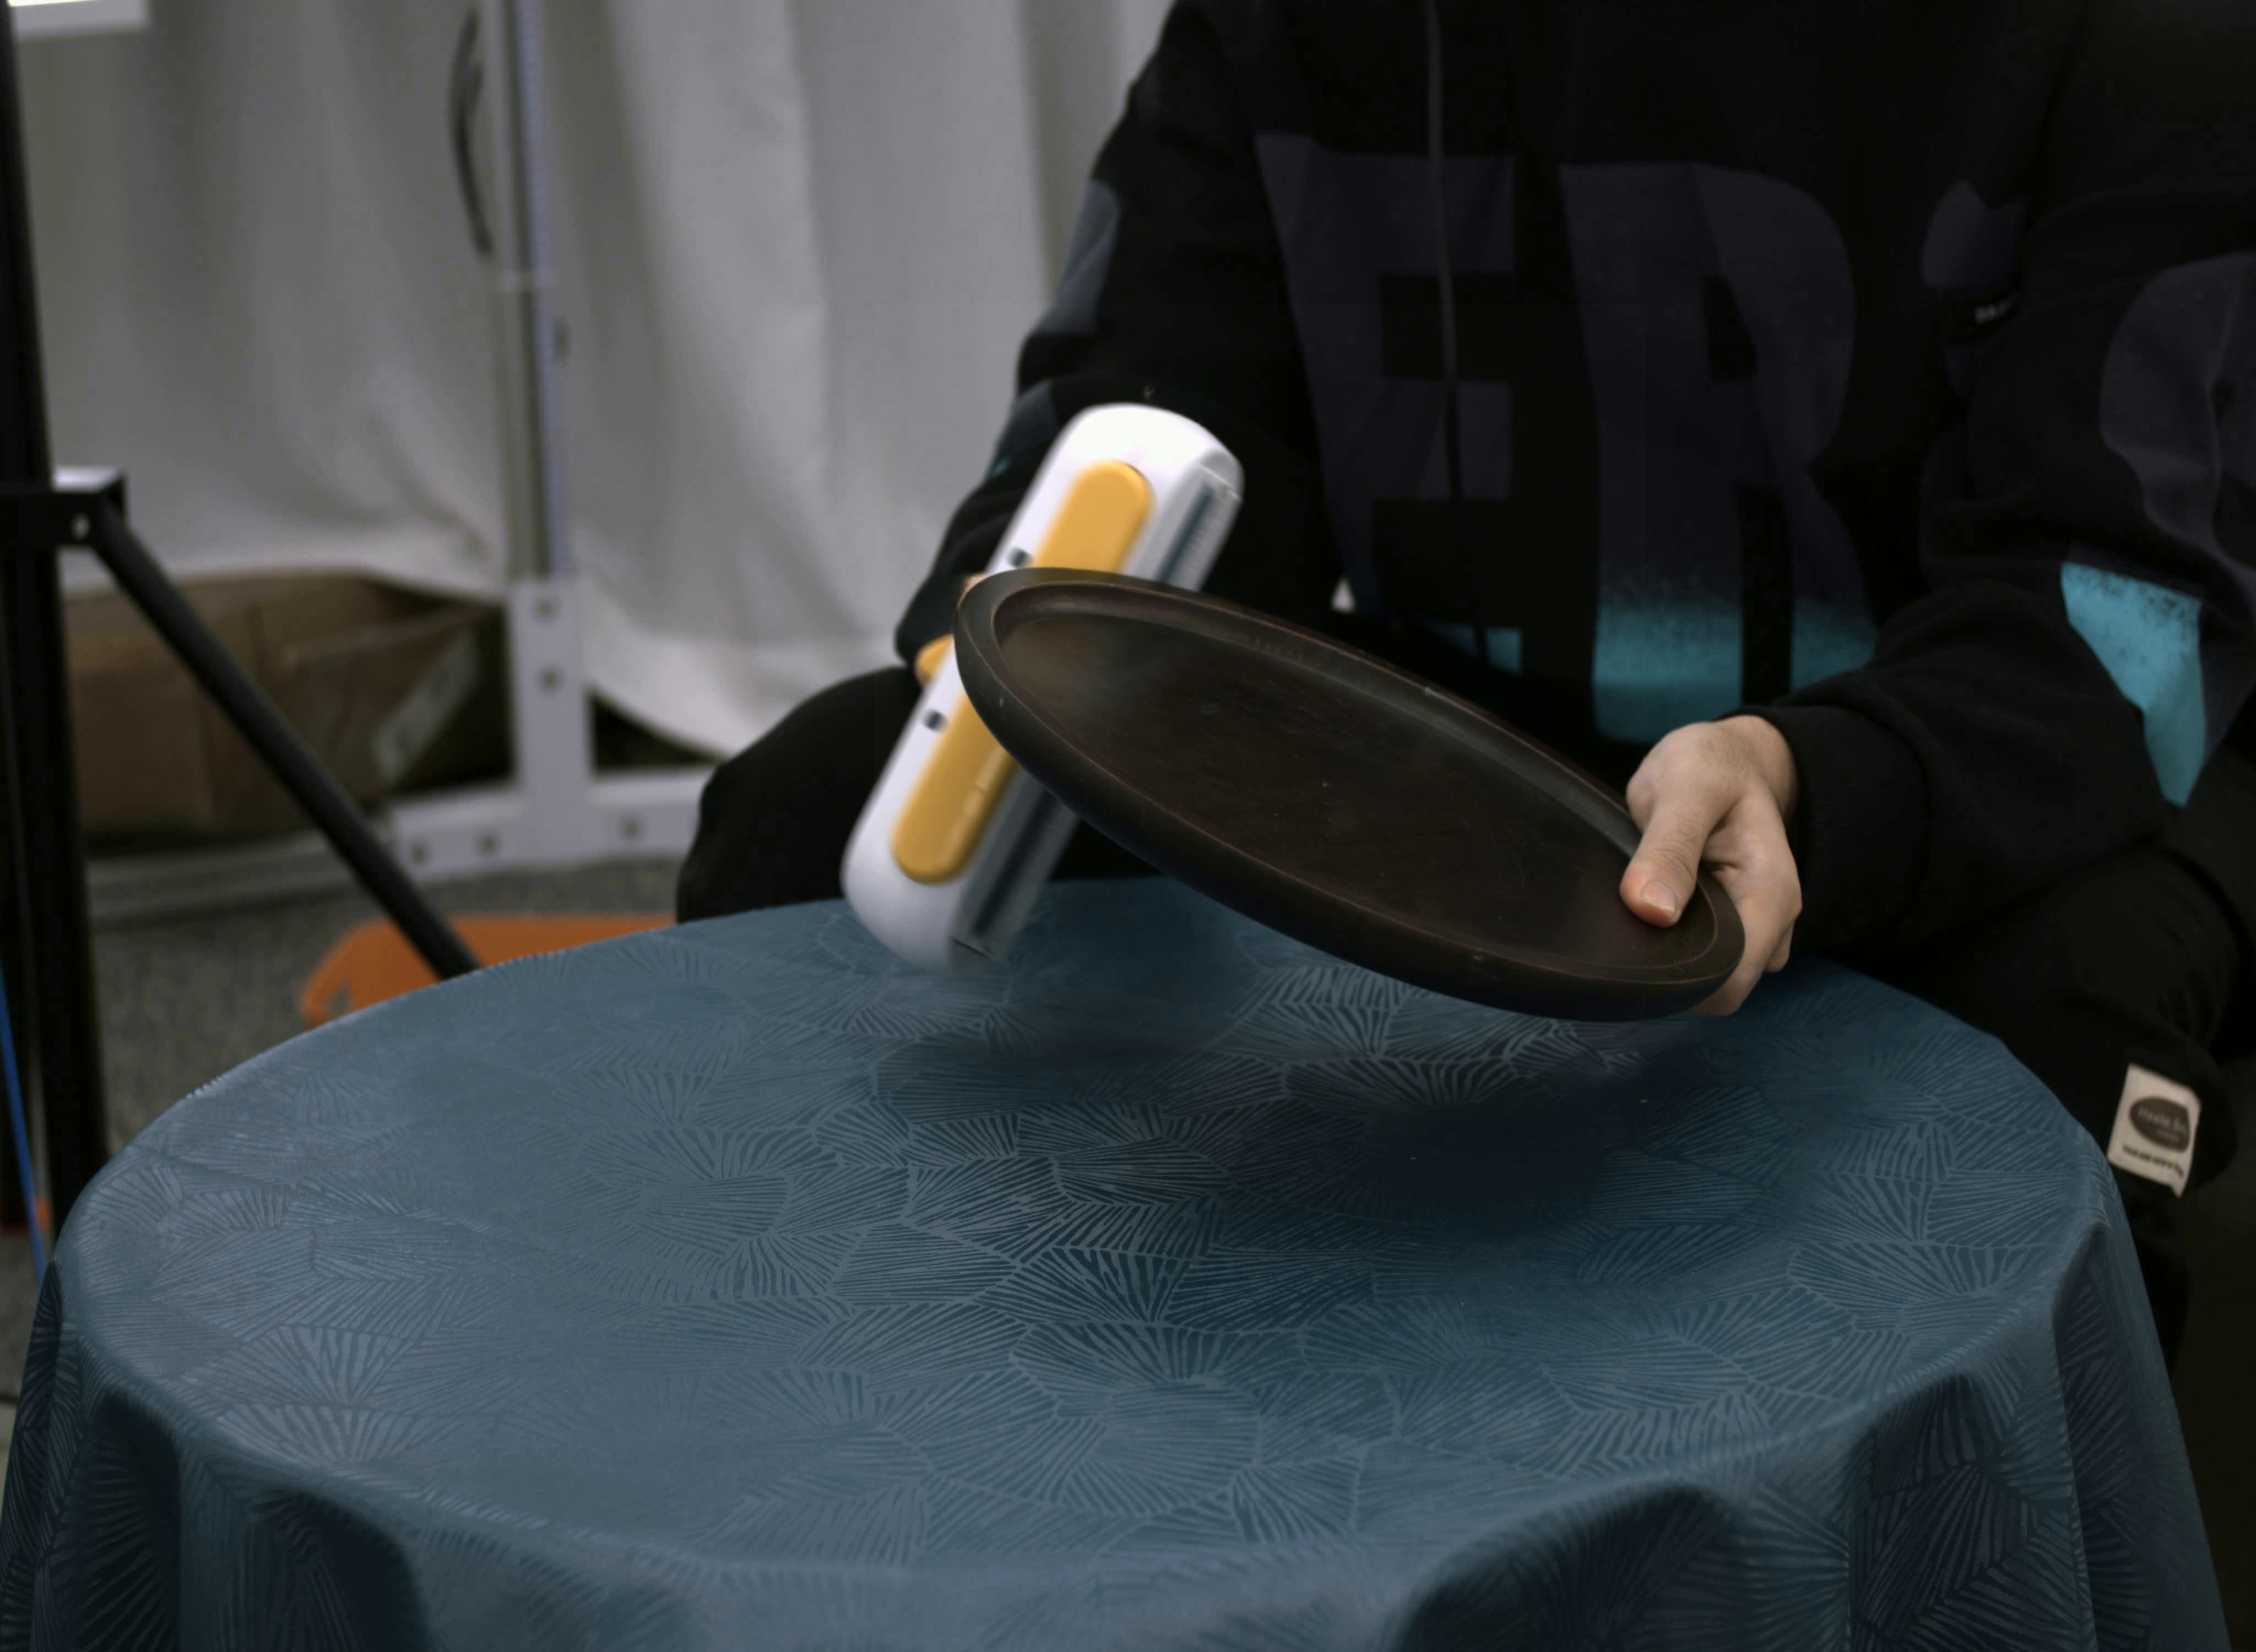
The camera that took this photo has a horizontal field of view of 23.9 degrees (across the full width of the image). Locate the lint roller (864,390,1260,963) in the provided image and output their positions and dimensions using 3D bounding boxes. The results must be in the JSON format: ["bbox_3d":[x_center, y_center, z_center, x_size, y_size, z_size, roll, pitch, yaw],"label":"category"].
[{"bbox_3d":[-0.020,-0.040,1.750,0.074,0.193,0.190,23,-6,11],"label":"lint roller"}]

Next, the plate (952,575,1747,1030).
[{"bbox_3d":[0.064,-0.008,1.566,0.252,0.029,0.256,21,16,-8],"label":"plate"}]
